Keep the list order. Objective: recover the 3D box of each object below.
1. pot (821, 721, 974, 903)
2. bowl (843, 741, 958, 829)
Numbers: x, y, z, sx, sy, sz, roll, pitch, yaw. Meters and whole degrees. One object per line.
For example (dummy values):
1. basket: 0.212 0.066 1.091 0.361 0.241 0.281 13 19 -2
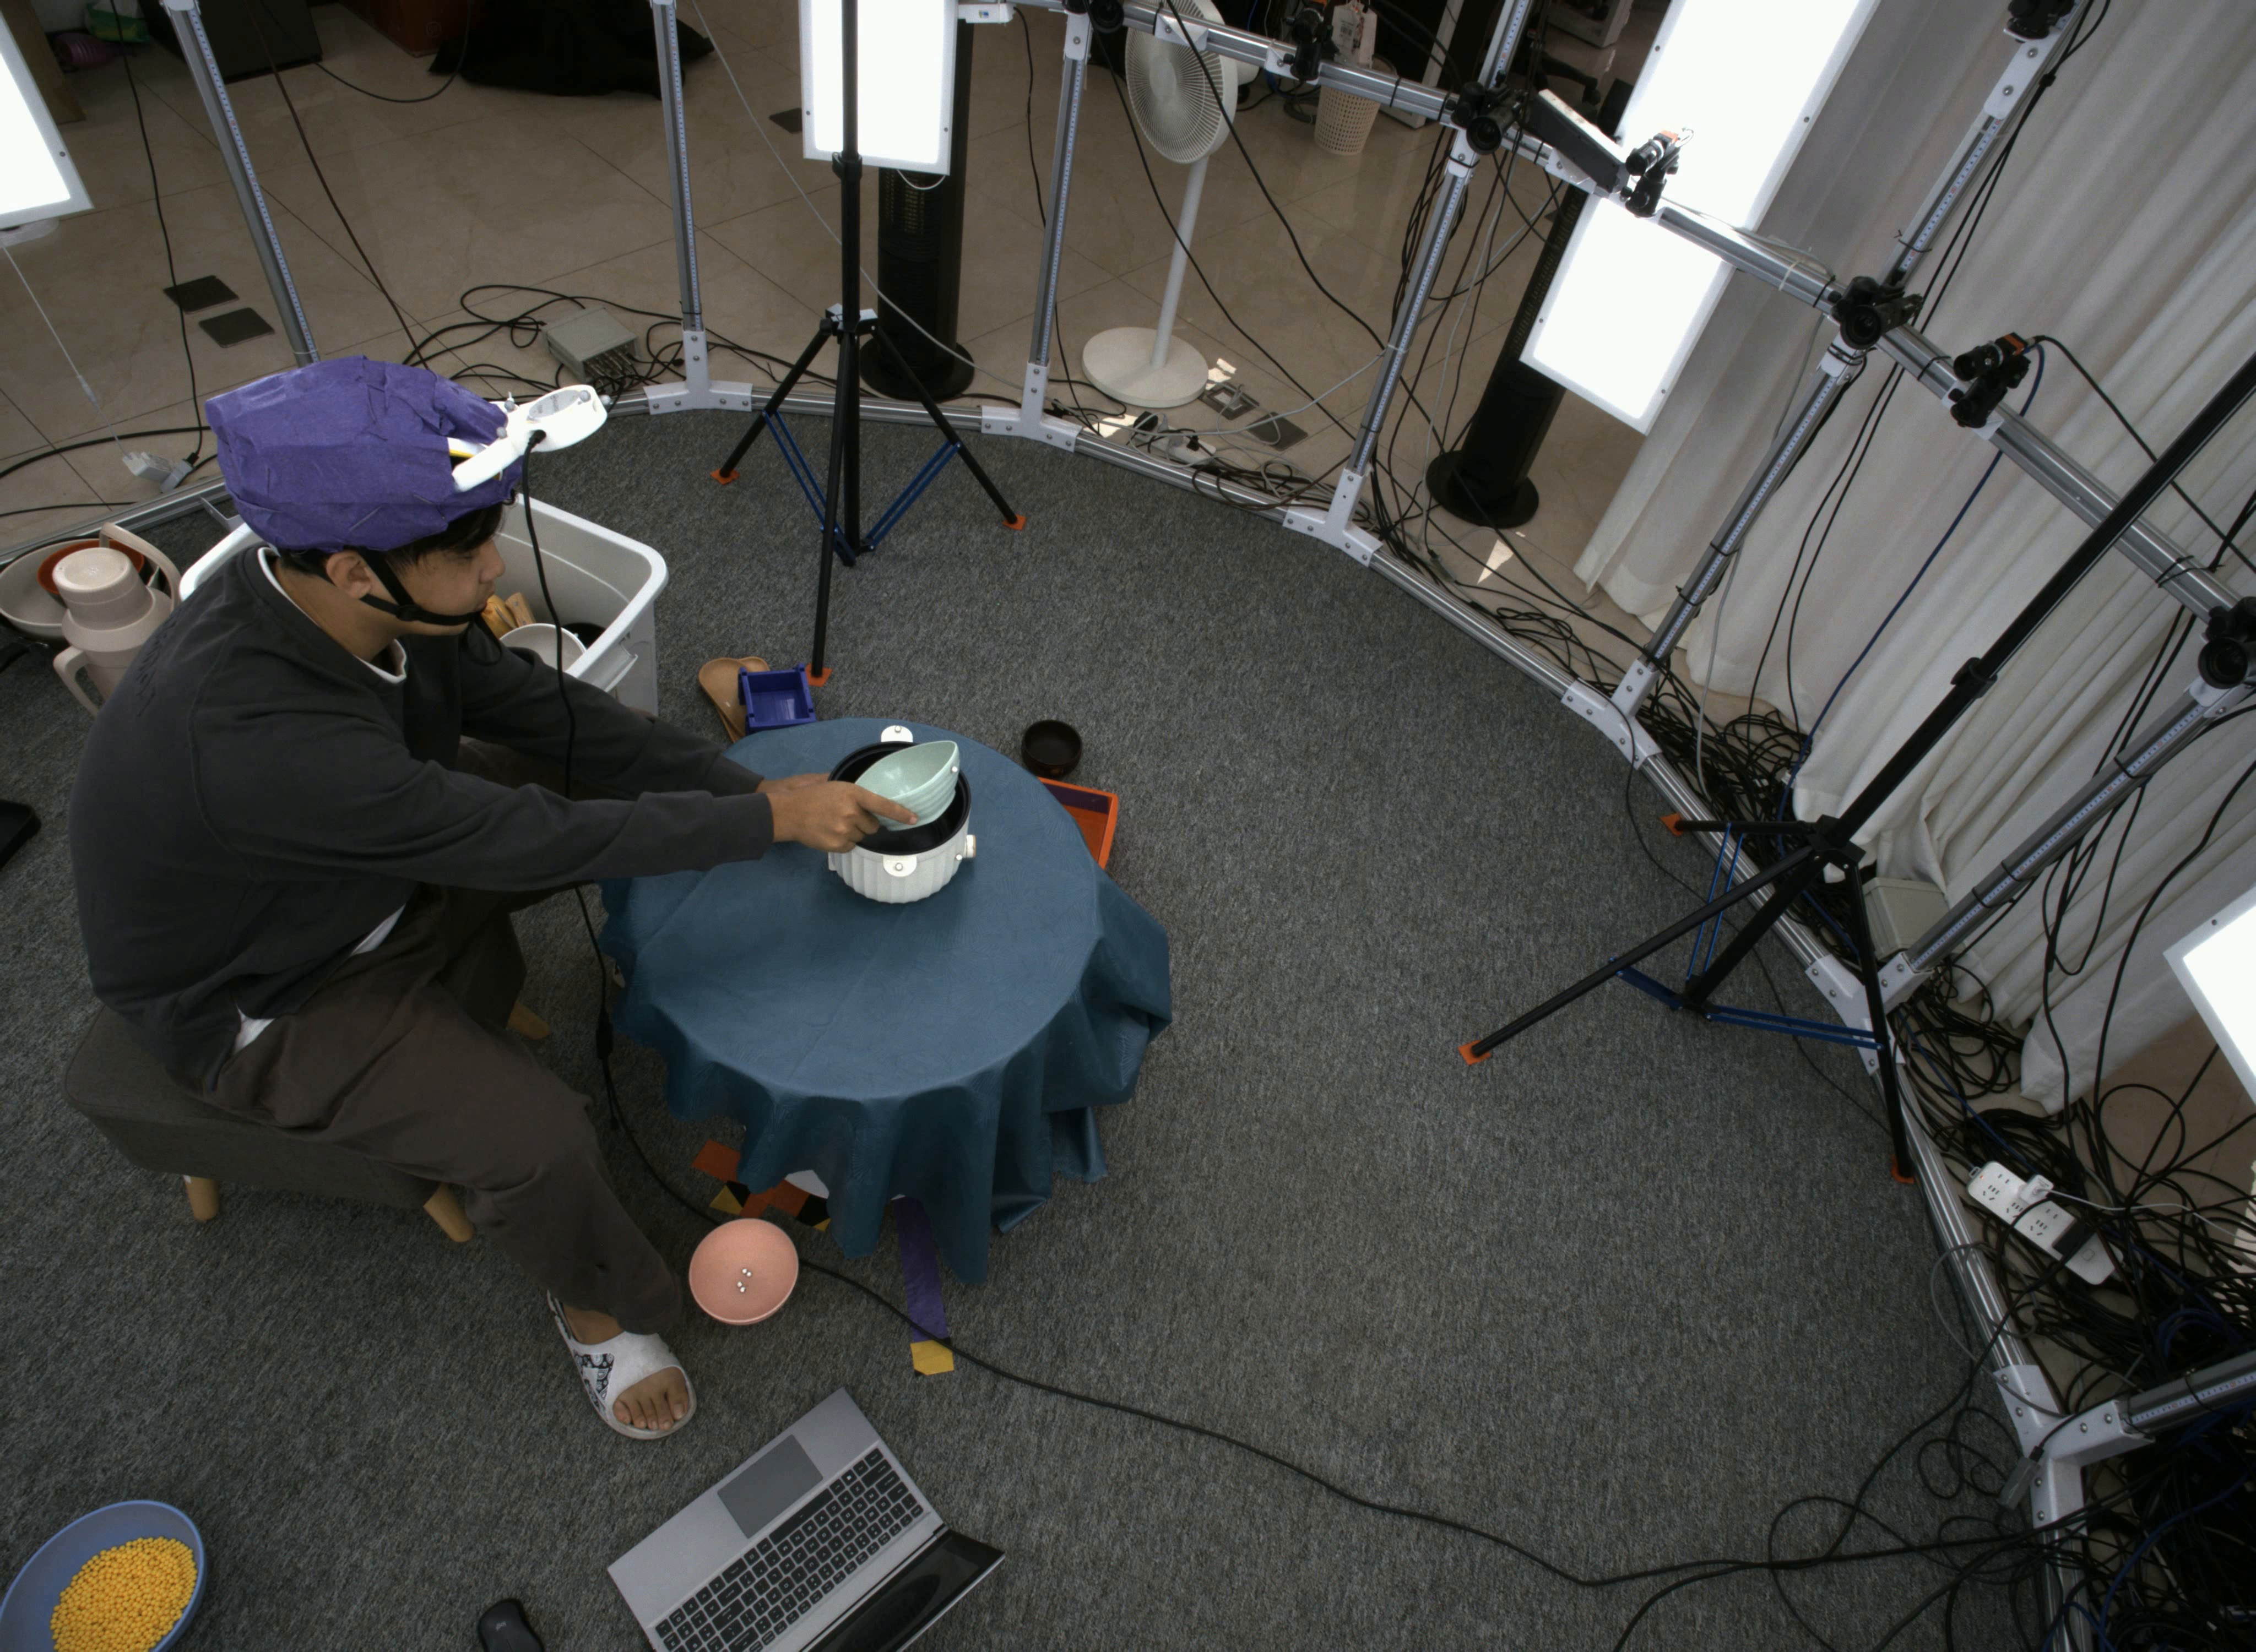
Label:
1. pot: -0.292 -0.002 1.664 0.190 0.146 0.235 -3 56 -11
2. bowl: -0.268 -0.045 1.588 0.149 0.060 0.148 -16 25 9
